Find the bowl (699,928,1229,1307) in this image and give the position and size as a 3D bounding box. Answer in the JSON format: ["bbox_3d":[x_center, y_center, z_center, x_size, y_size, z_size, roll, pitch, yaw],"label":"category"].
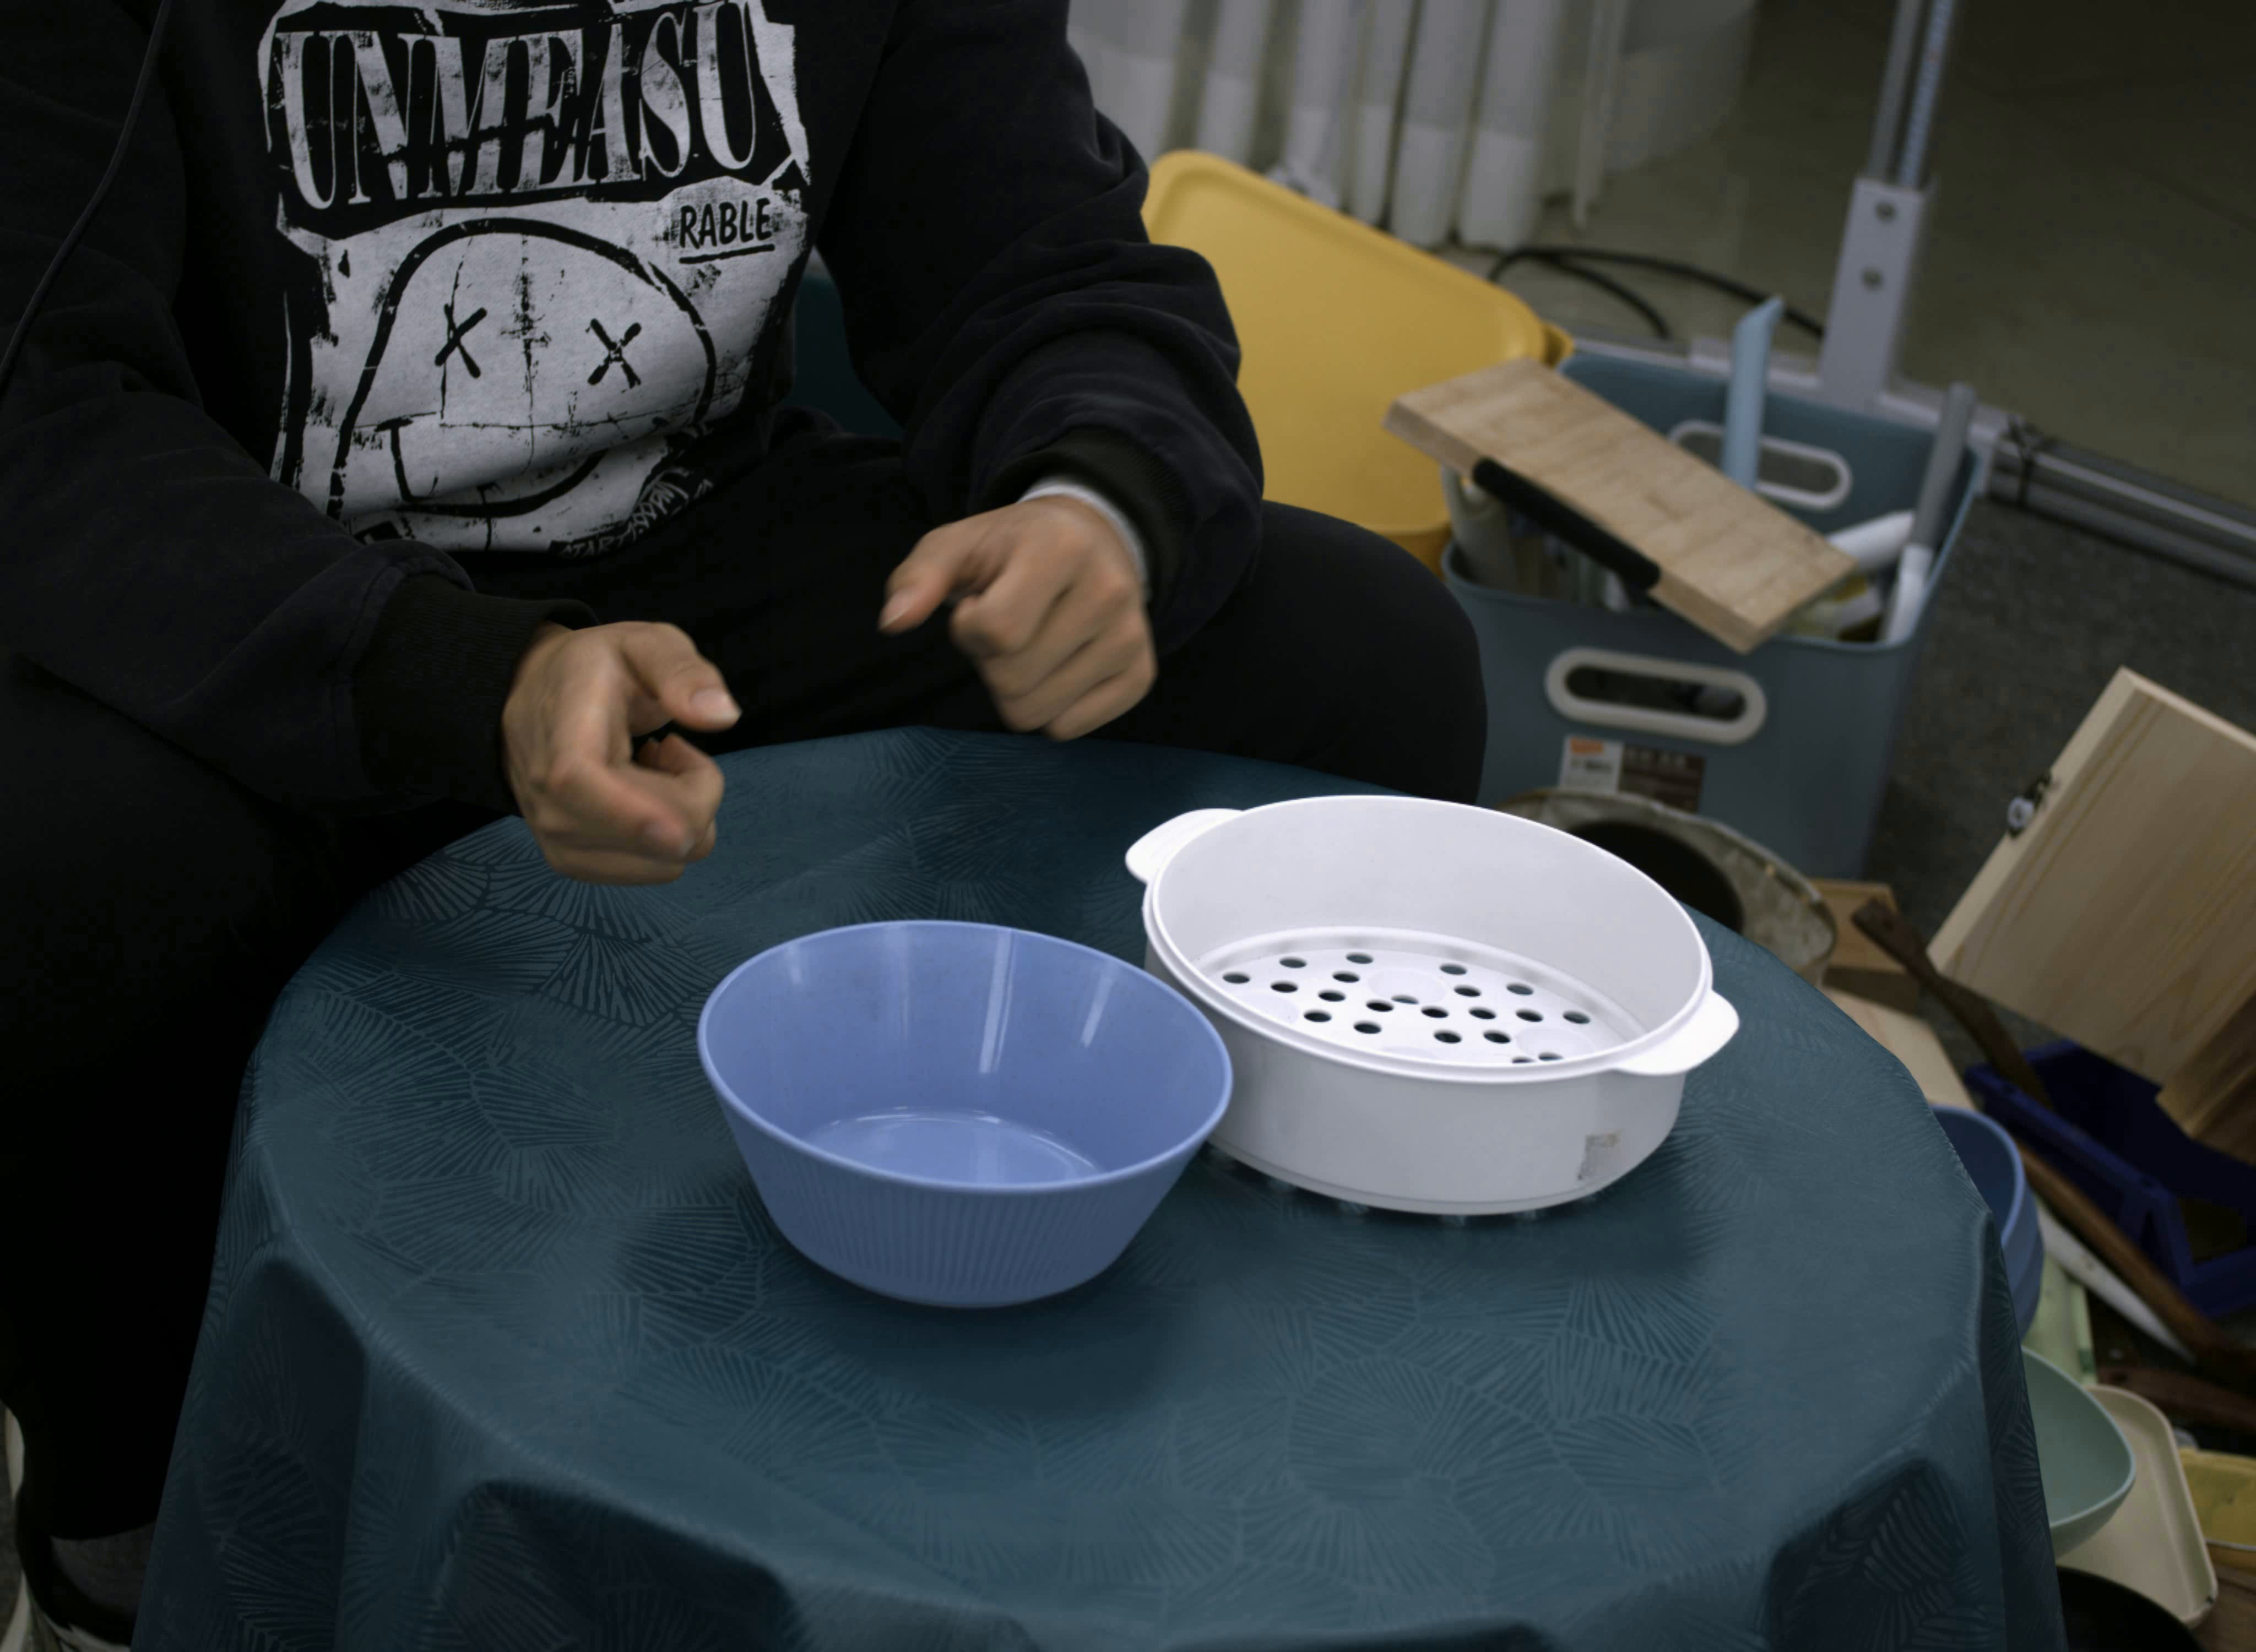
[{"bbox_3d":[-0.057,0.102,1.752,0.175,0.070,0.177,6,25,-3],"label":"bowl"}]

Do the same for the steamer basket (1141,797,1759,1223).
[{"bbox_3d":[0.107,0.065,1.864,0.232,0.069,0.201,23,30,25],"label":"steamer basket"}]
